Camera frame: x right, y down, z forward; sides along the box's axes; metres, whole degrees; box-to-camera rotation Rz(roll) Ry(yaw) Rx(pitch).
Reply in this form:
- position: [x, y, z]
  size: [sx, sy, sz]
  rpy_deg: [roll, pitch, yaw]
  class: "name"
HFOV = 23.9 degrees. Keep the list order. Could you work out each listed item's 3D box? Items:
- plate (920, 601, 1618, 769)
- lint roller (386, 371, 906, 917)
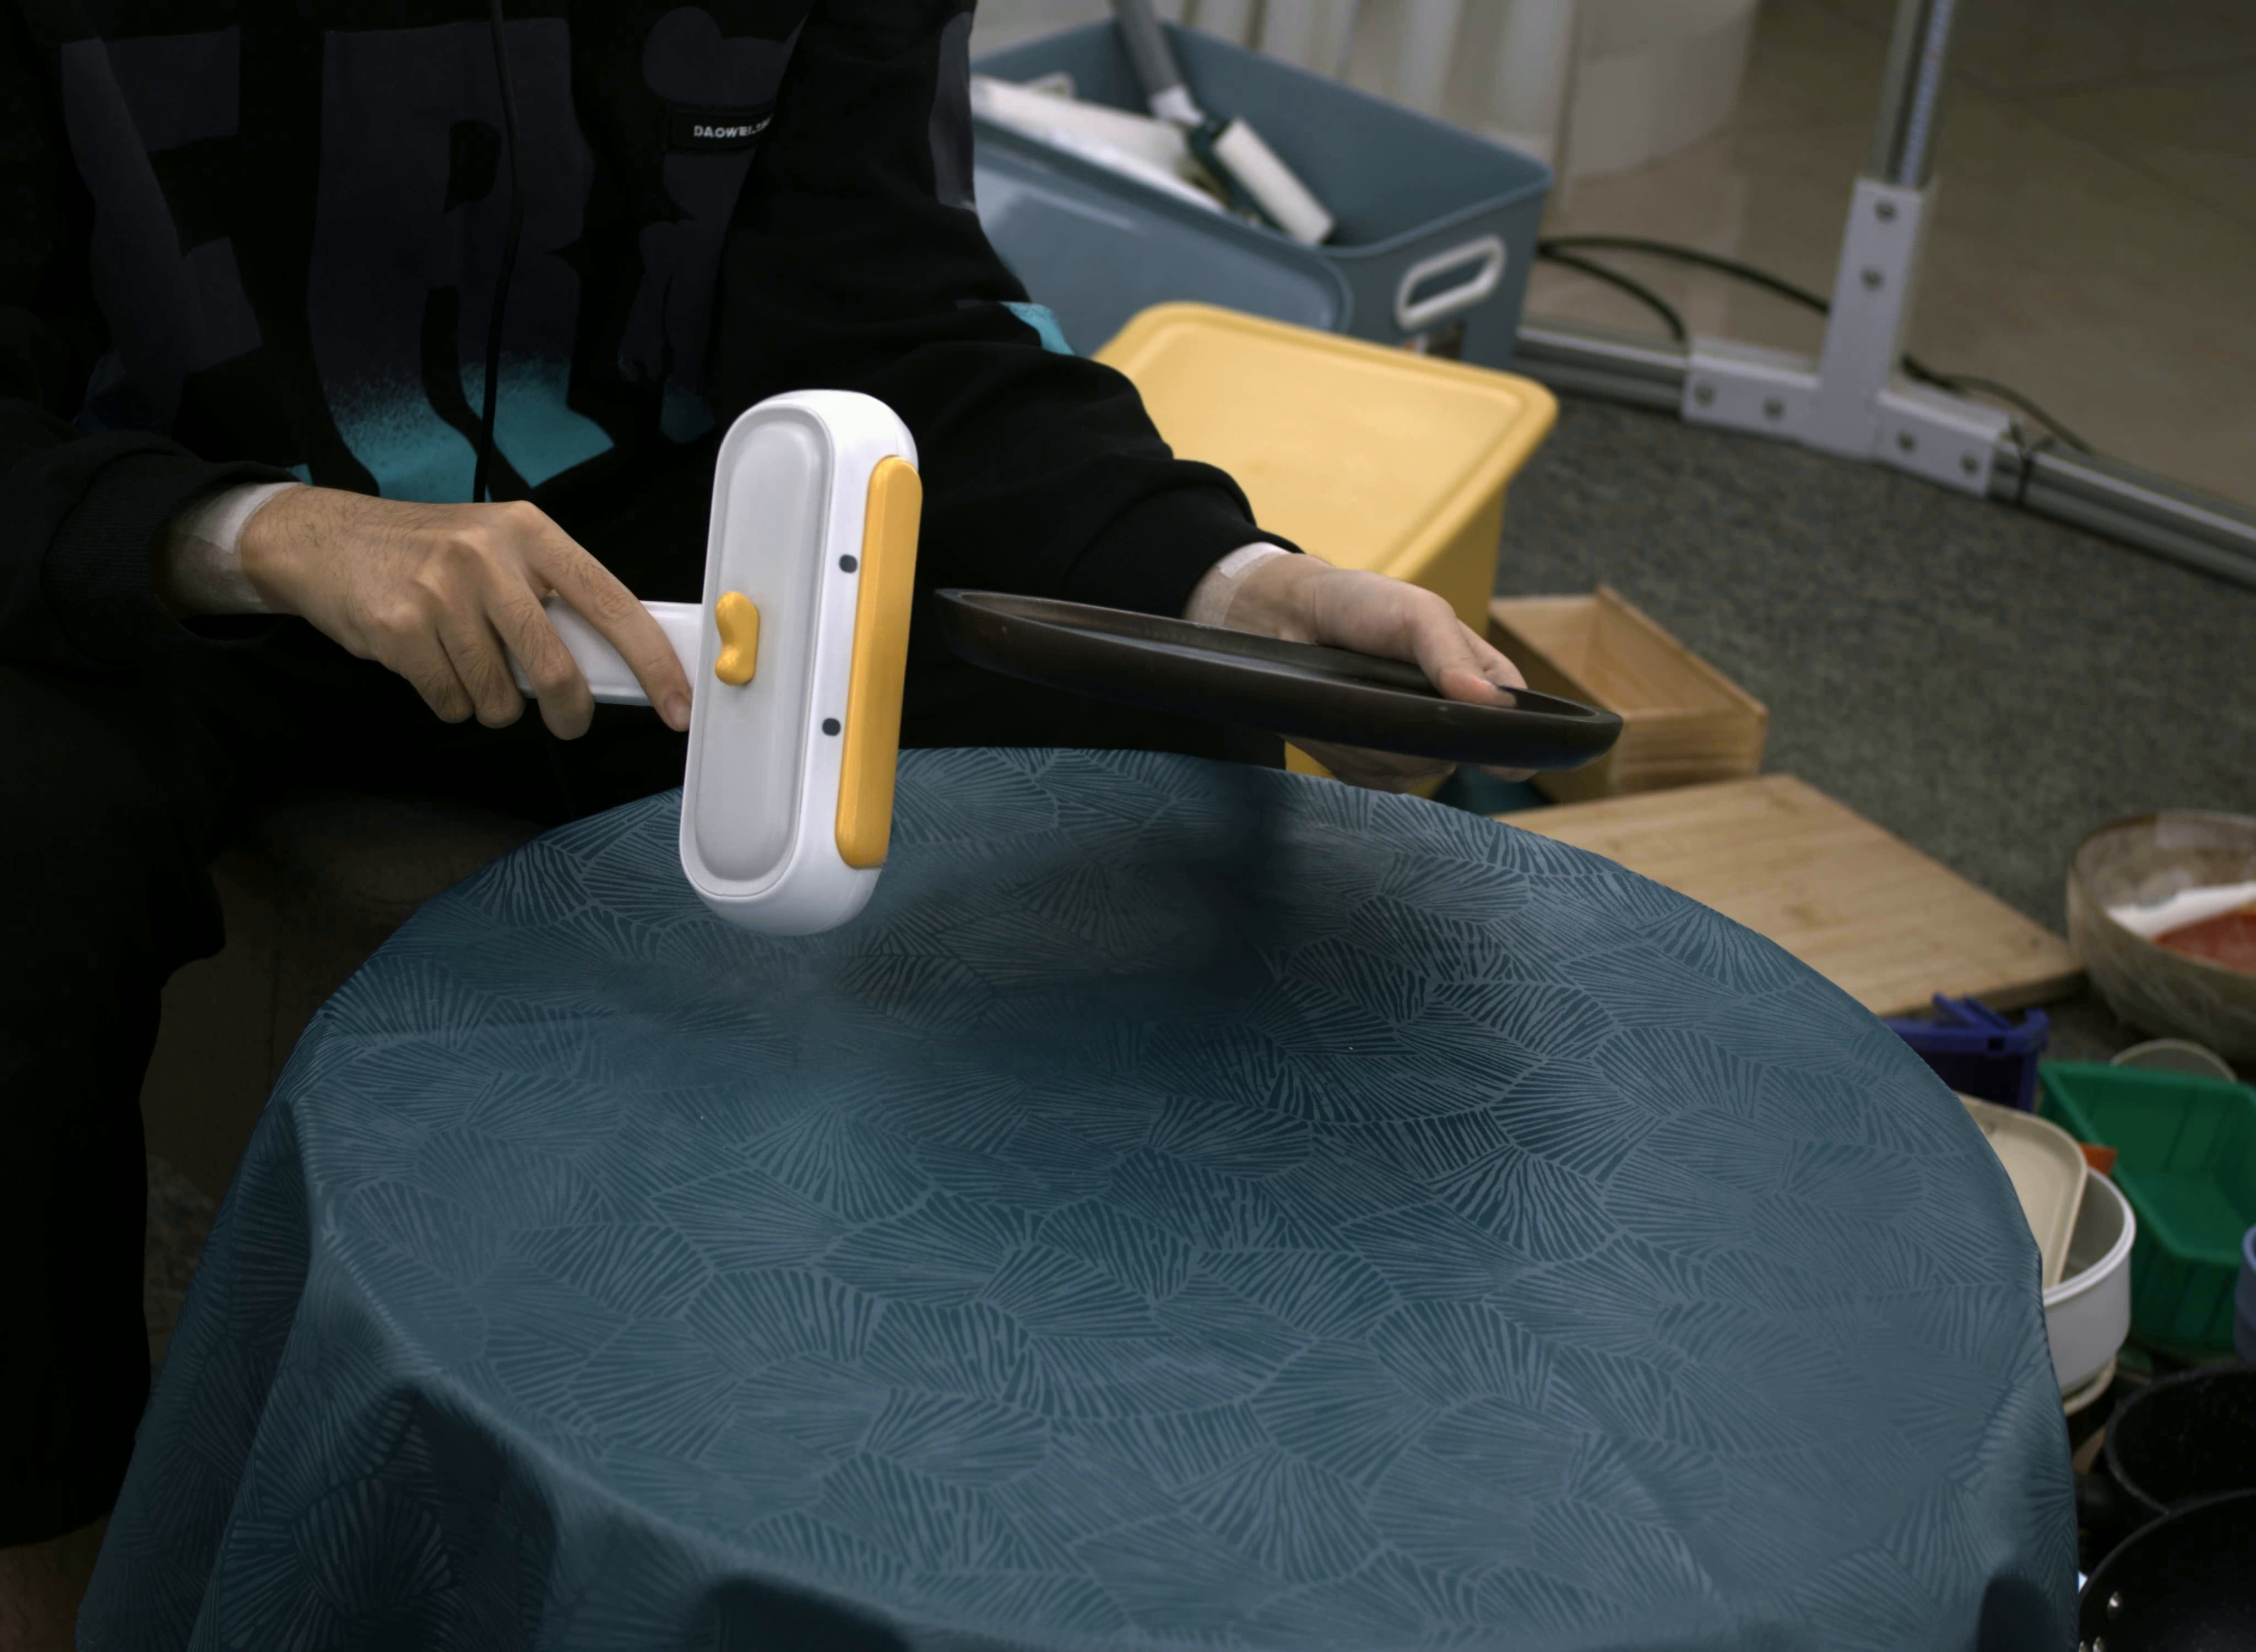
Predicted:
- position: [0.050, -0.052, 1.914]
  size: [0.254, 0.029, 0.255]
  rpy_deg: [10, 3, -1]
  class: "plate"
- position: [-0.170, -0.063, 1.890]
  size: [0.193, 0.193, 0.073]
  rpy_deg: [-2, -6, 27]
  class: "lint roller"
